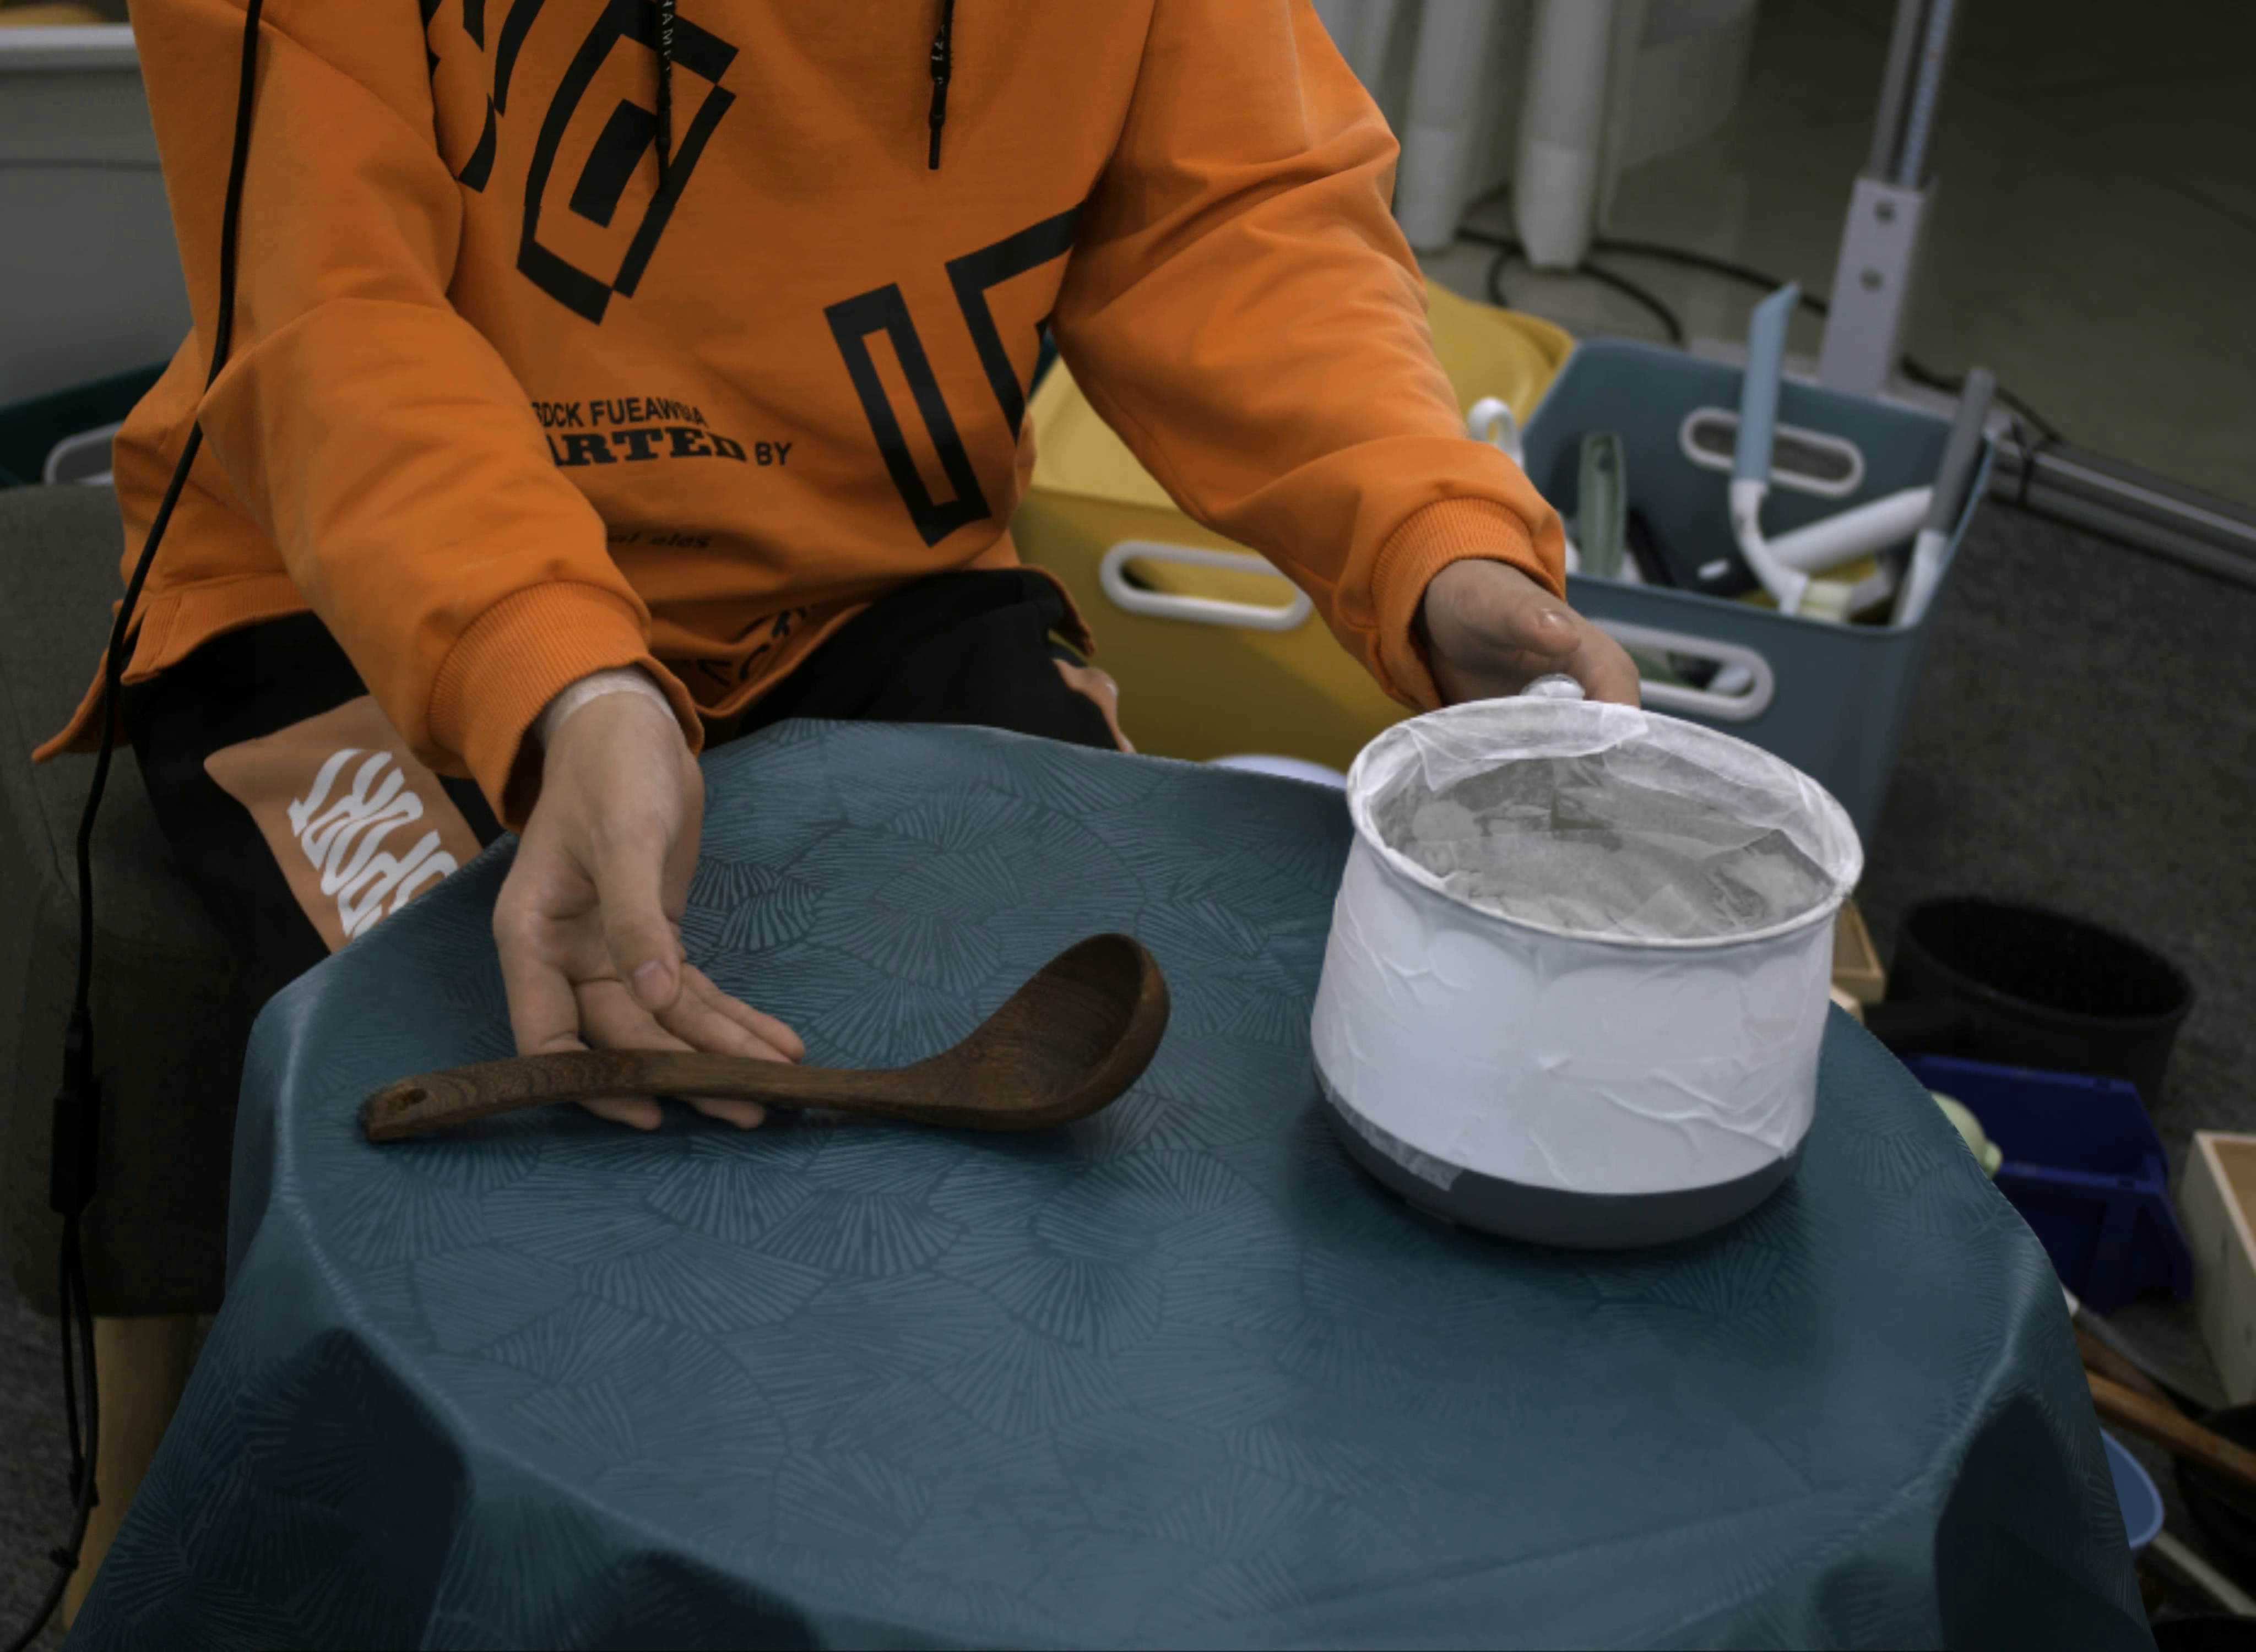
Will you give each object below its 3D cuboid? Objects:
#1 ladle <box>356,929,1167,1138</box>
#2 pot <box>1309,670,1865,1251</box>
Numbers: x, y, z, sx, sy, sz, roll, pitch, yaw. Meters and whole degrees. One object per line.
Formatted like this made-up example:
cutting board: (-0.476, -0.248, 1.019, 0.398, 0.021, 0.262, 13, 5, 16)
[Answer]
ladle: (-0.122, 0.071, 1.802, 0.272, 0.071, 0.076, 0, 26, -14)
pot: (0.151, 0.039, 1.850, 0.178, 0.136, 0.235, 3, 28, -9)
